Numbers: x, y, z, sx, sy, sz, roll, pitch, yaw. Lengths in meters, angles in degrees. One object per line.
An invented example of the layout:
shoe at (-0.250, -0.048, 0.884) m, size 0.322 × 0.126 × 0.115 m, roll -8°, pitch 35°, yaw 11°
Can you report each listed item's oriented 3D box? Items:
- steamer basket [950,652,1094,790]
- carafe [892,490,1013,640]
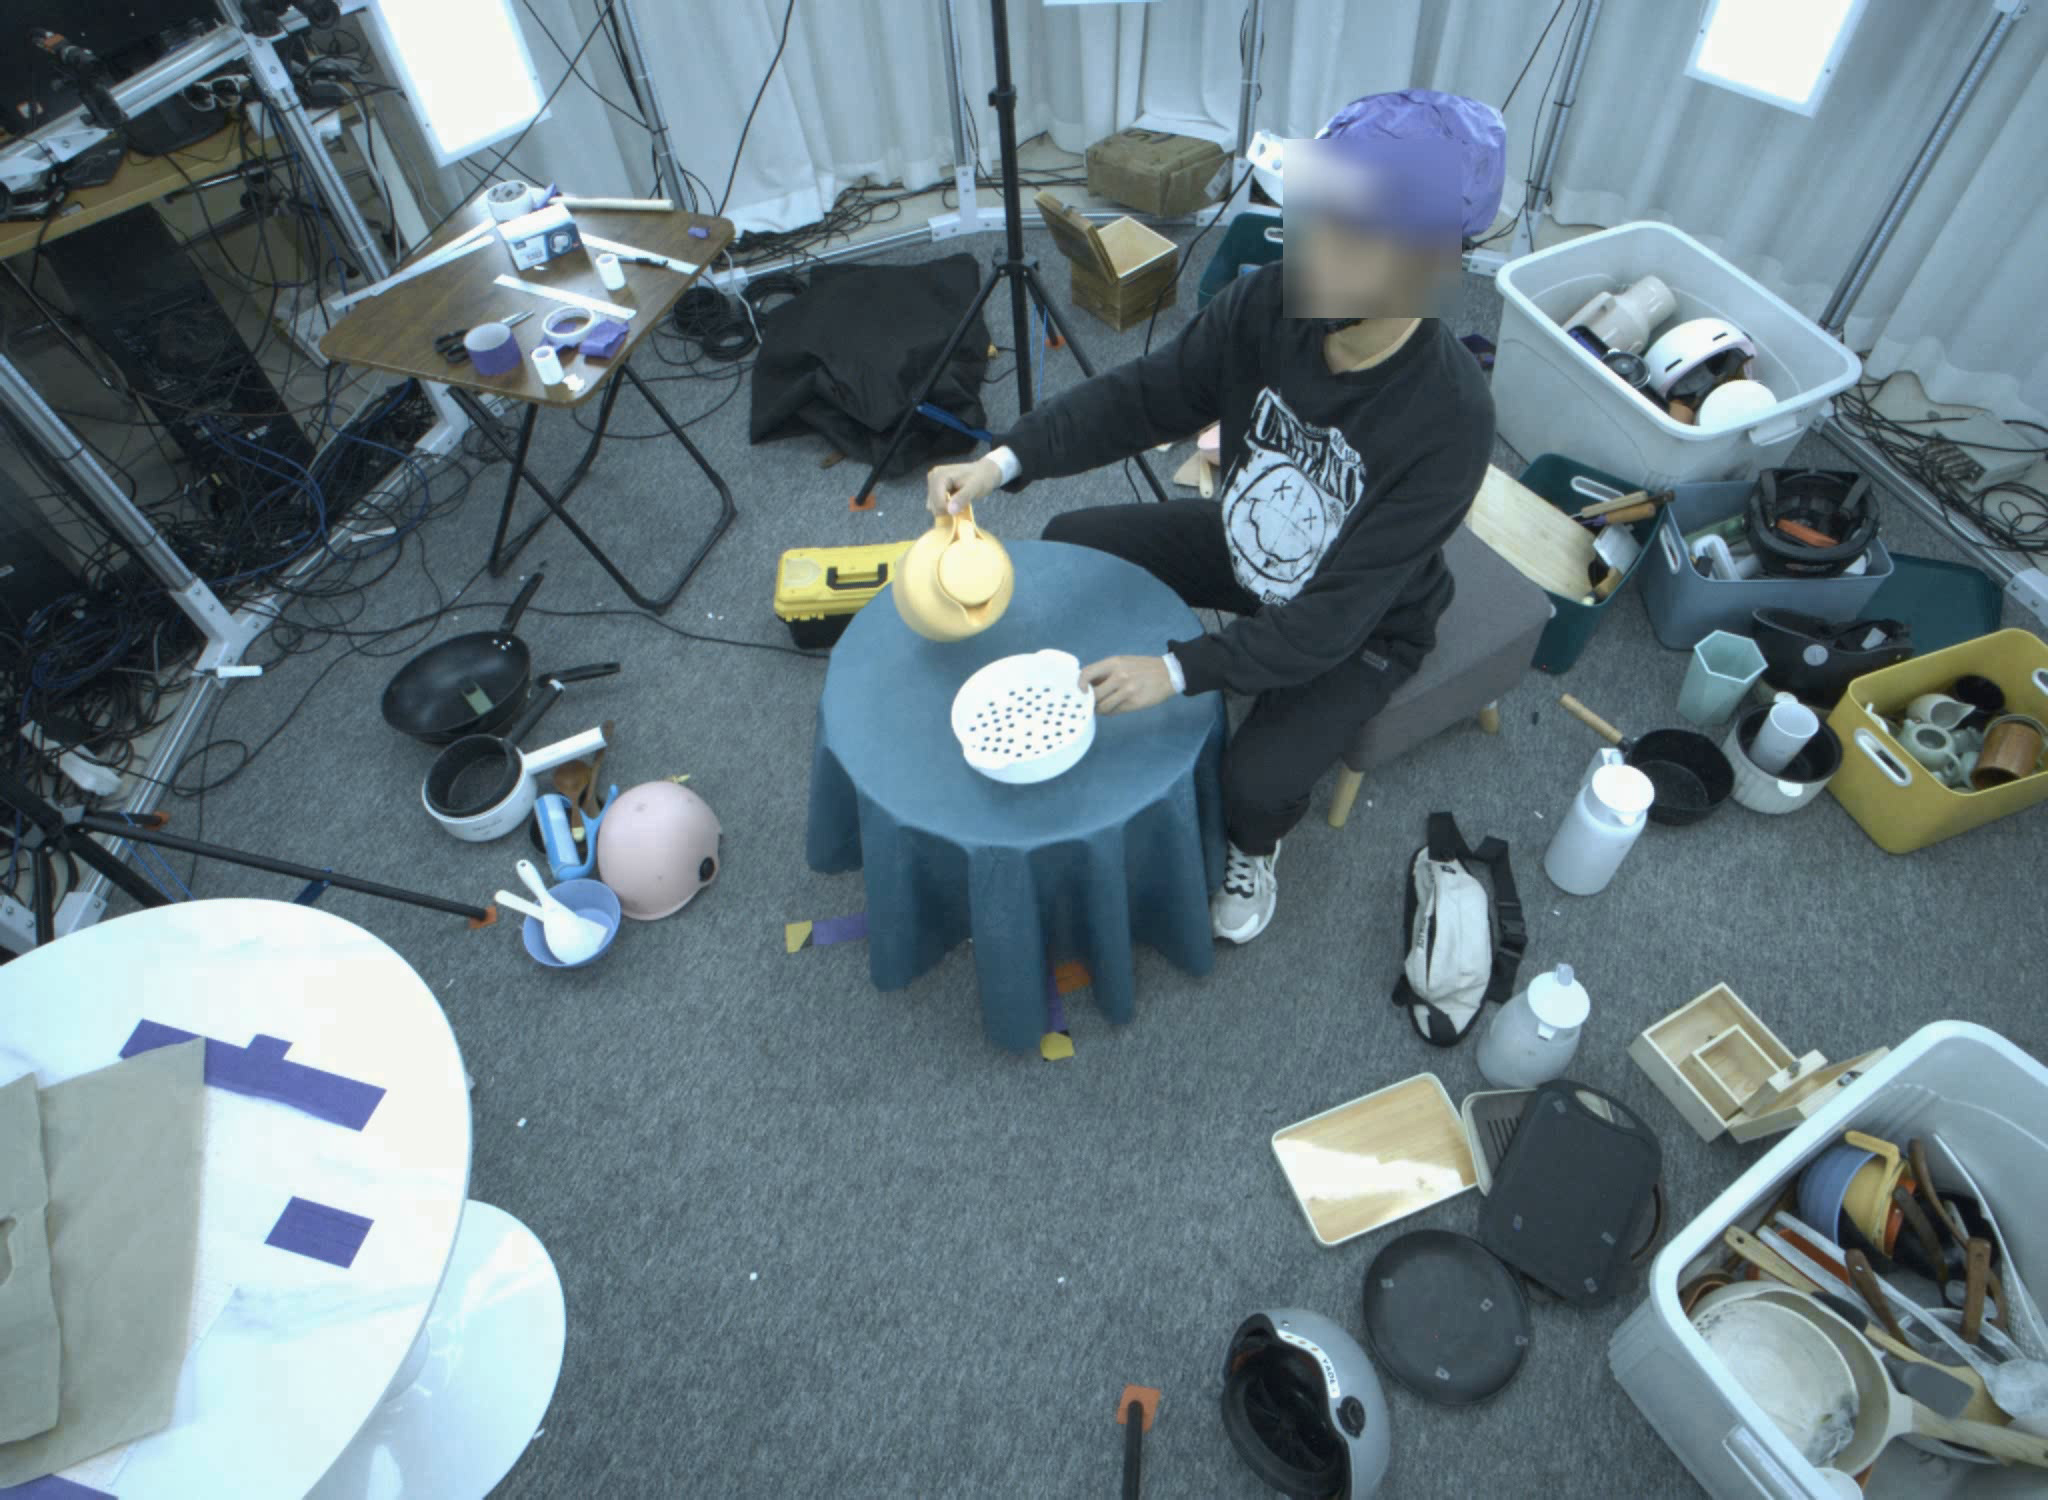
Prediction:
steamer basket at (0.000, -0.036, 1.731) m, size 0.198 × 0.070 × 0.231 m, roll 19°, pitch 58°, yaw 24°
carafe at (-0.098, -0.262, 1.745) m, size 0.165 × 0.257 × 0.202 m, roll -6°, pitch 94°, yaw -14°
